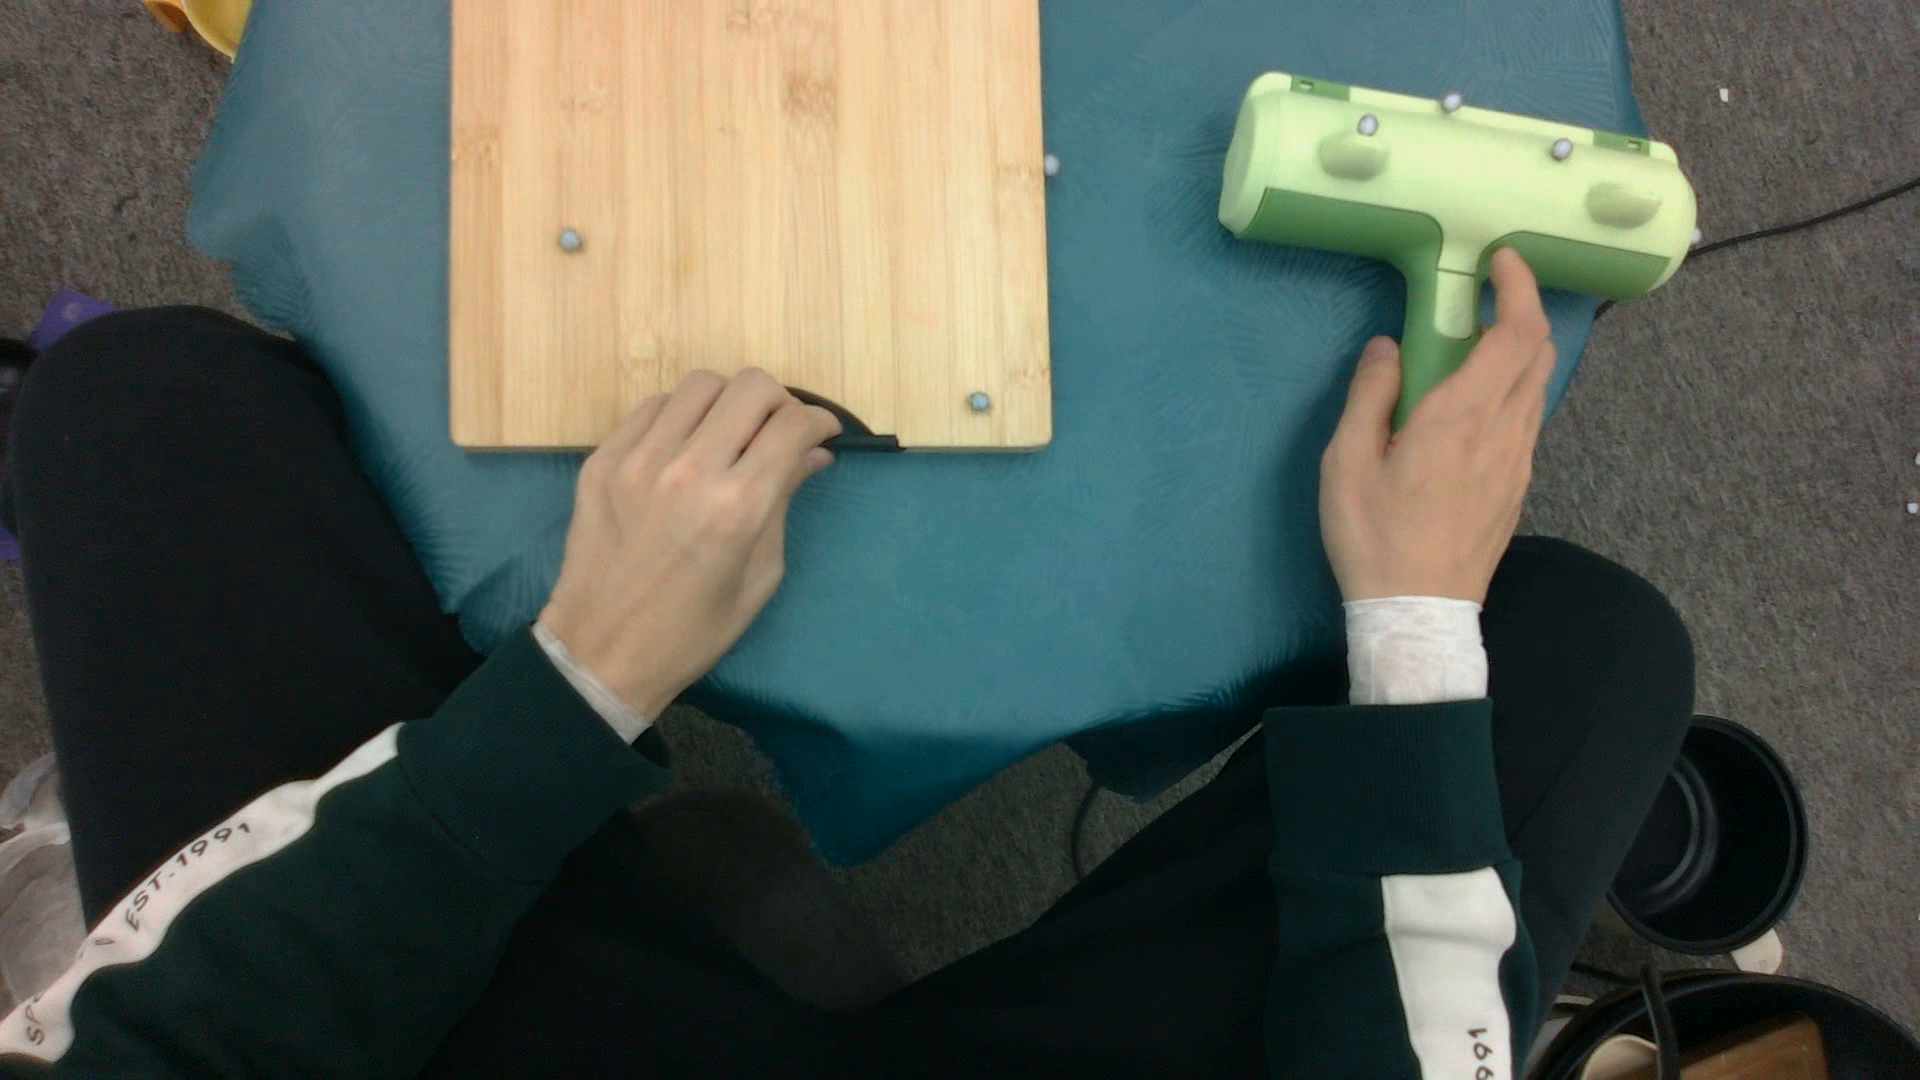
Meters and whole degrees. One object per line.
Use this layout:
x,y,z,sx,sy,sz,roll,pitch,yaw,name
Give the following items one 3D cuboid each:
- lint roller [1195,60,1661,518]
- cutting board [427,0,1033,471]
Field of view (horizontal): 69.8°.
0.199,-0.105,0.578,0.199,0.082,0.184,7,76,-8,lint roller
-0.097,-0.203,0.581,0.251,0.023,0.349,-3,84,-9,cutting board
